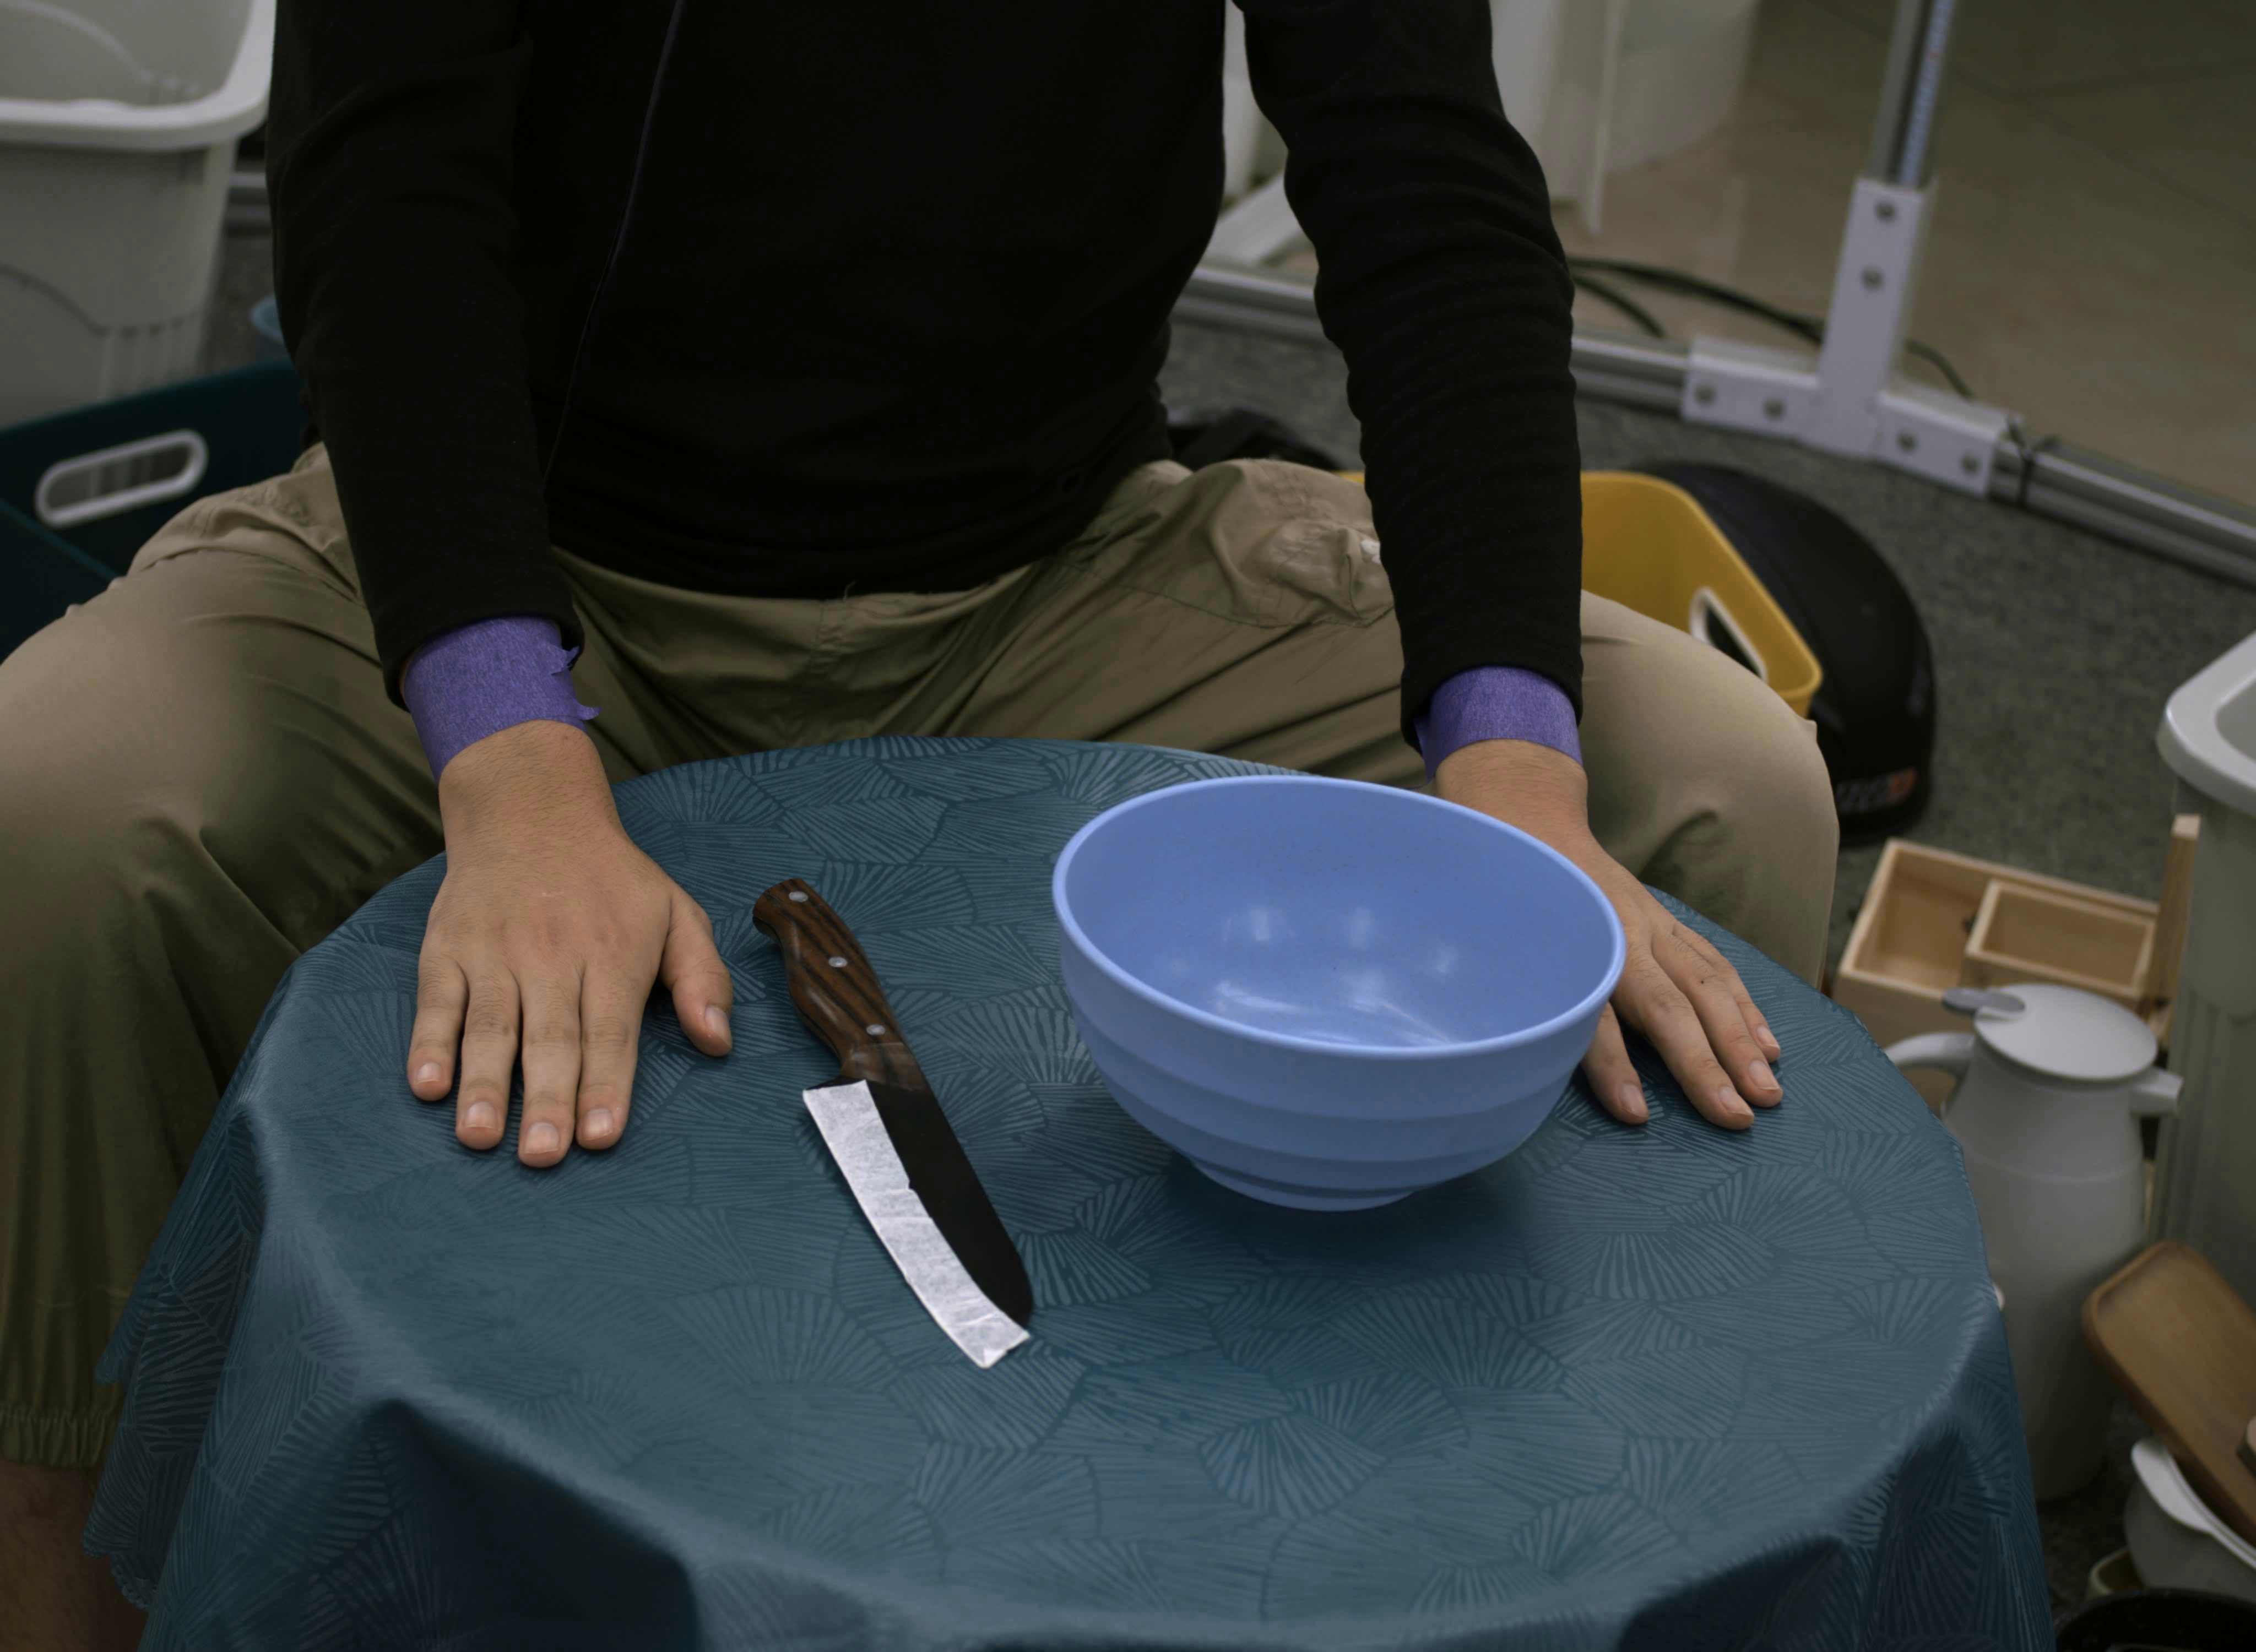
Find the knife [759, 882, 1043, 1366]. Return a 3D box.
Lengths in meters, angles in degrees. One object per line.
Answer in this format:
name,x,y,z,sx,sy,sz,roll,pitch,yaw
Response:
knife,-0.082,0.100,1.818,0.050,0.020,0.292,-7,32,-15

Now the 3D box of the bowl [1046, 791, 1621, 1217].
bowl,0.066,0.071,1.826,0.196,0.095,0.197,4,25,-2
